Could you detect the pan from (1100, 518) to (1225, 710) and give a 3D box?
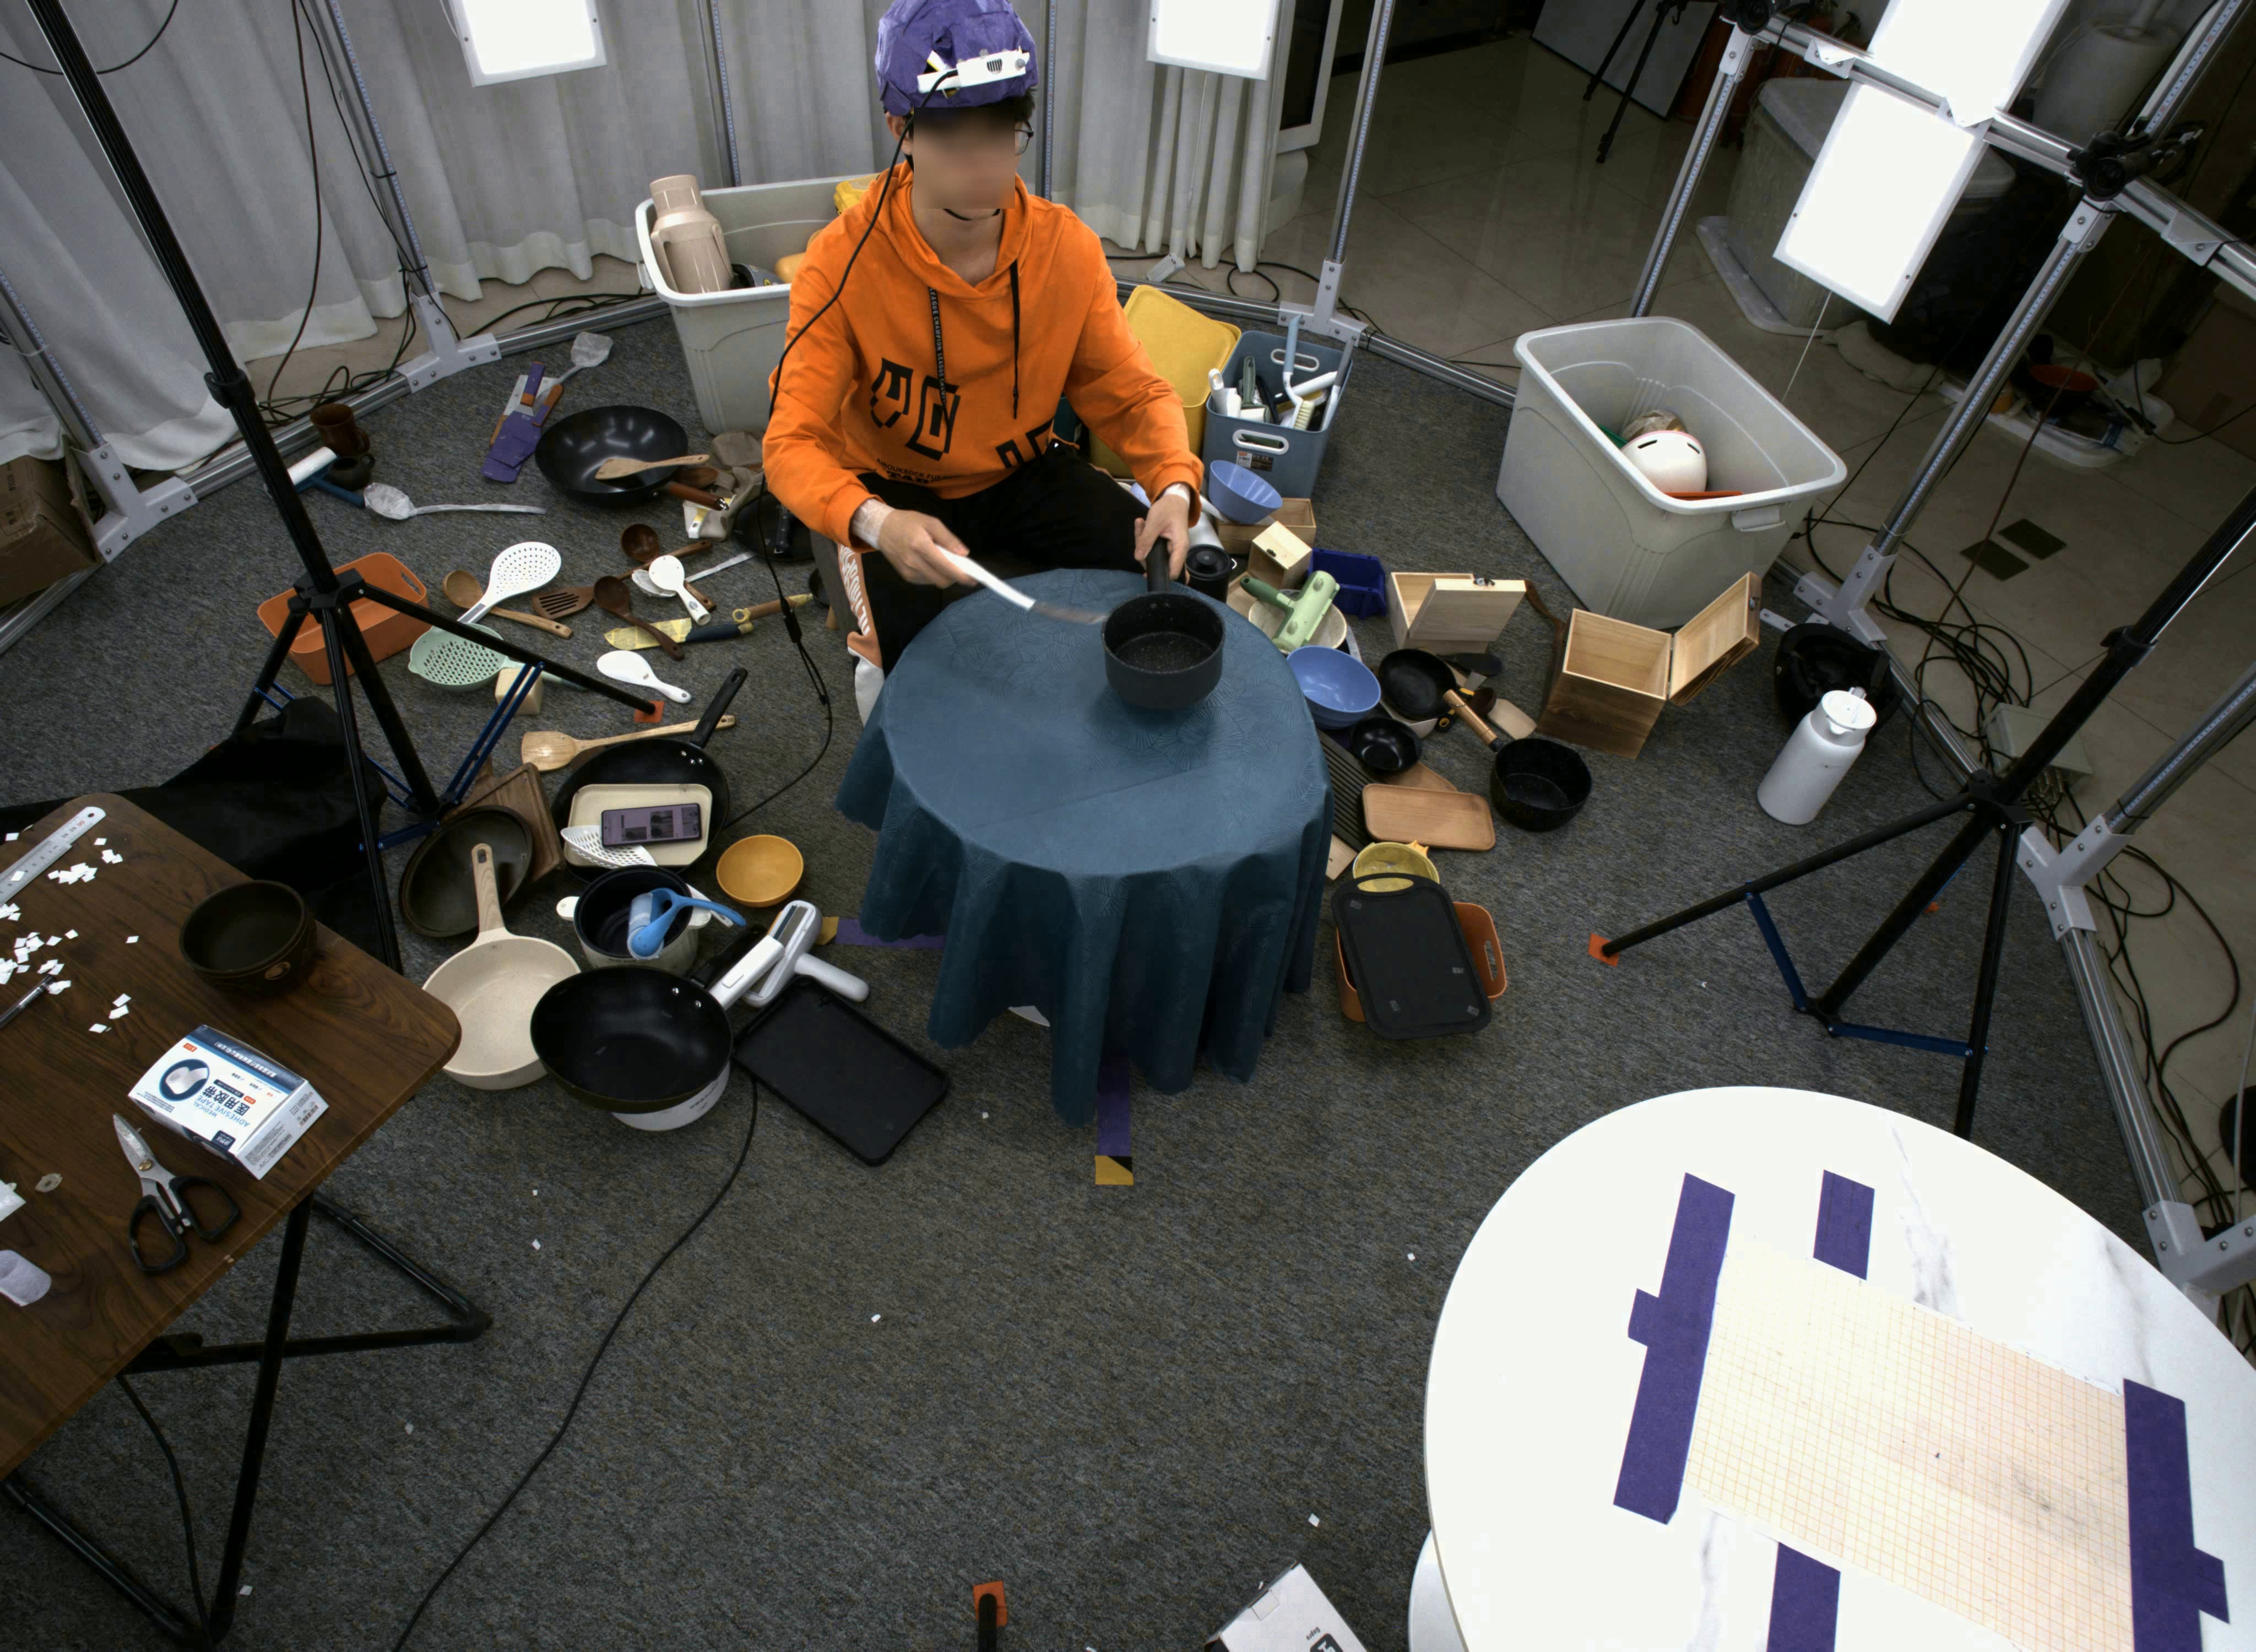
[{"bbox_3d":[0.049,-0.305,1.835,0.172,0.084,0.337,0,49,2],"label":"pan"}]

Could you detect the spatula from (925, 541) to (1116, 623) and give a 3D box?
[{"bbox_3d":[-0.147,-0.319,1.710,0.290,0.031,0.059,25,32,22],"label":"spatula"}]
